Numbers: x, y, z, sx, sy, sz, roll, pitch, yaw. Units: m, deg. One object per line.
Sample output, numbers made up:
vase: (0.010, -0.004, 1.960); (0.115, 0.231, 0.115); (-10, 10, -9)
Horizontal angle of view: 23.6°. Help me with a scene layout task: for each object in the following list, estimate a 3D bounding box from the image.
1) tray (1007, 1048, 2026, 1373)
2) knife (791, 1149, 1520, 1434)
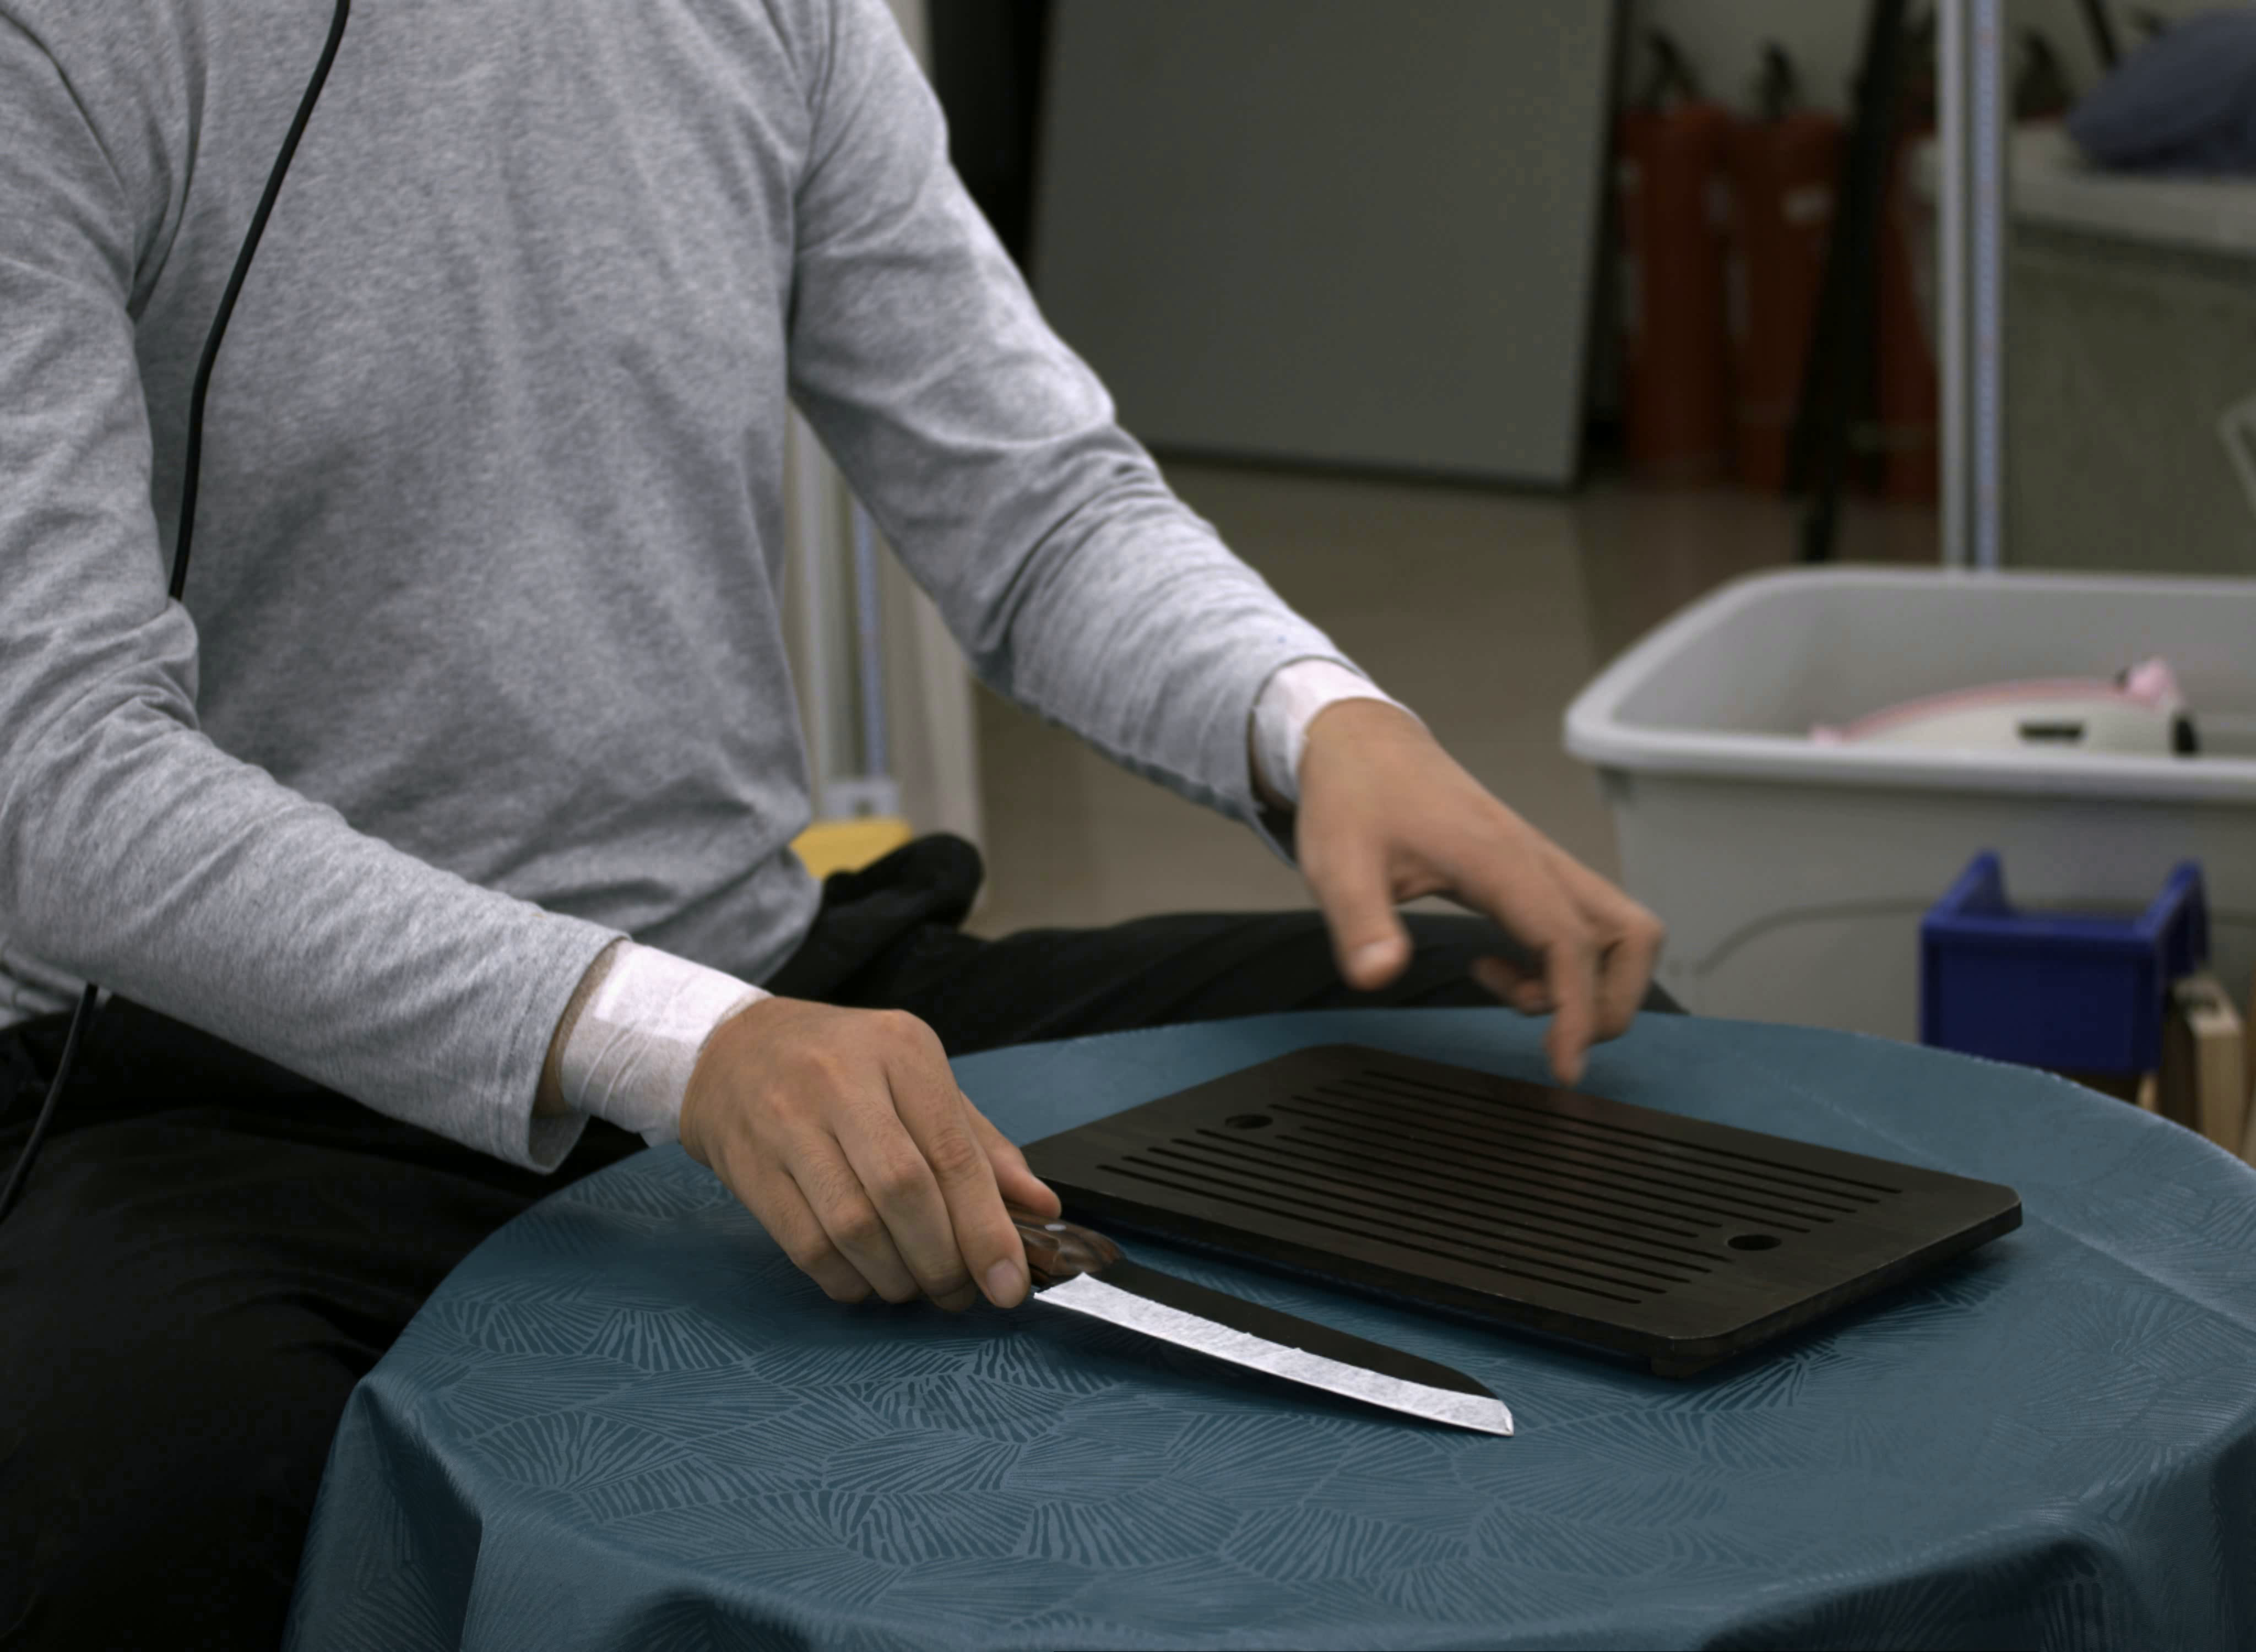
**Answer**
tray: (0.119, 0.119, 1.712); (0.166, 0.019, 0.309); (-16, 18, -41)
knife: (0.004, 0.141, 1.622); (0.291, 0.020, 0.049); (16, 23, 39)
